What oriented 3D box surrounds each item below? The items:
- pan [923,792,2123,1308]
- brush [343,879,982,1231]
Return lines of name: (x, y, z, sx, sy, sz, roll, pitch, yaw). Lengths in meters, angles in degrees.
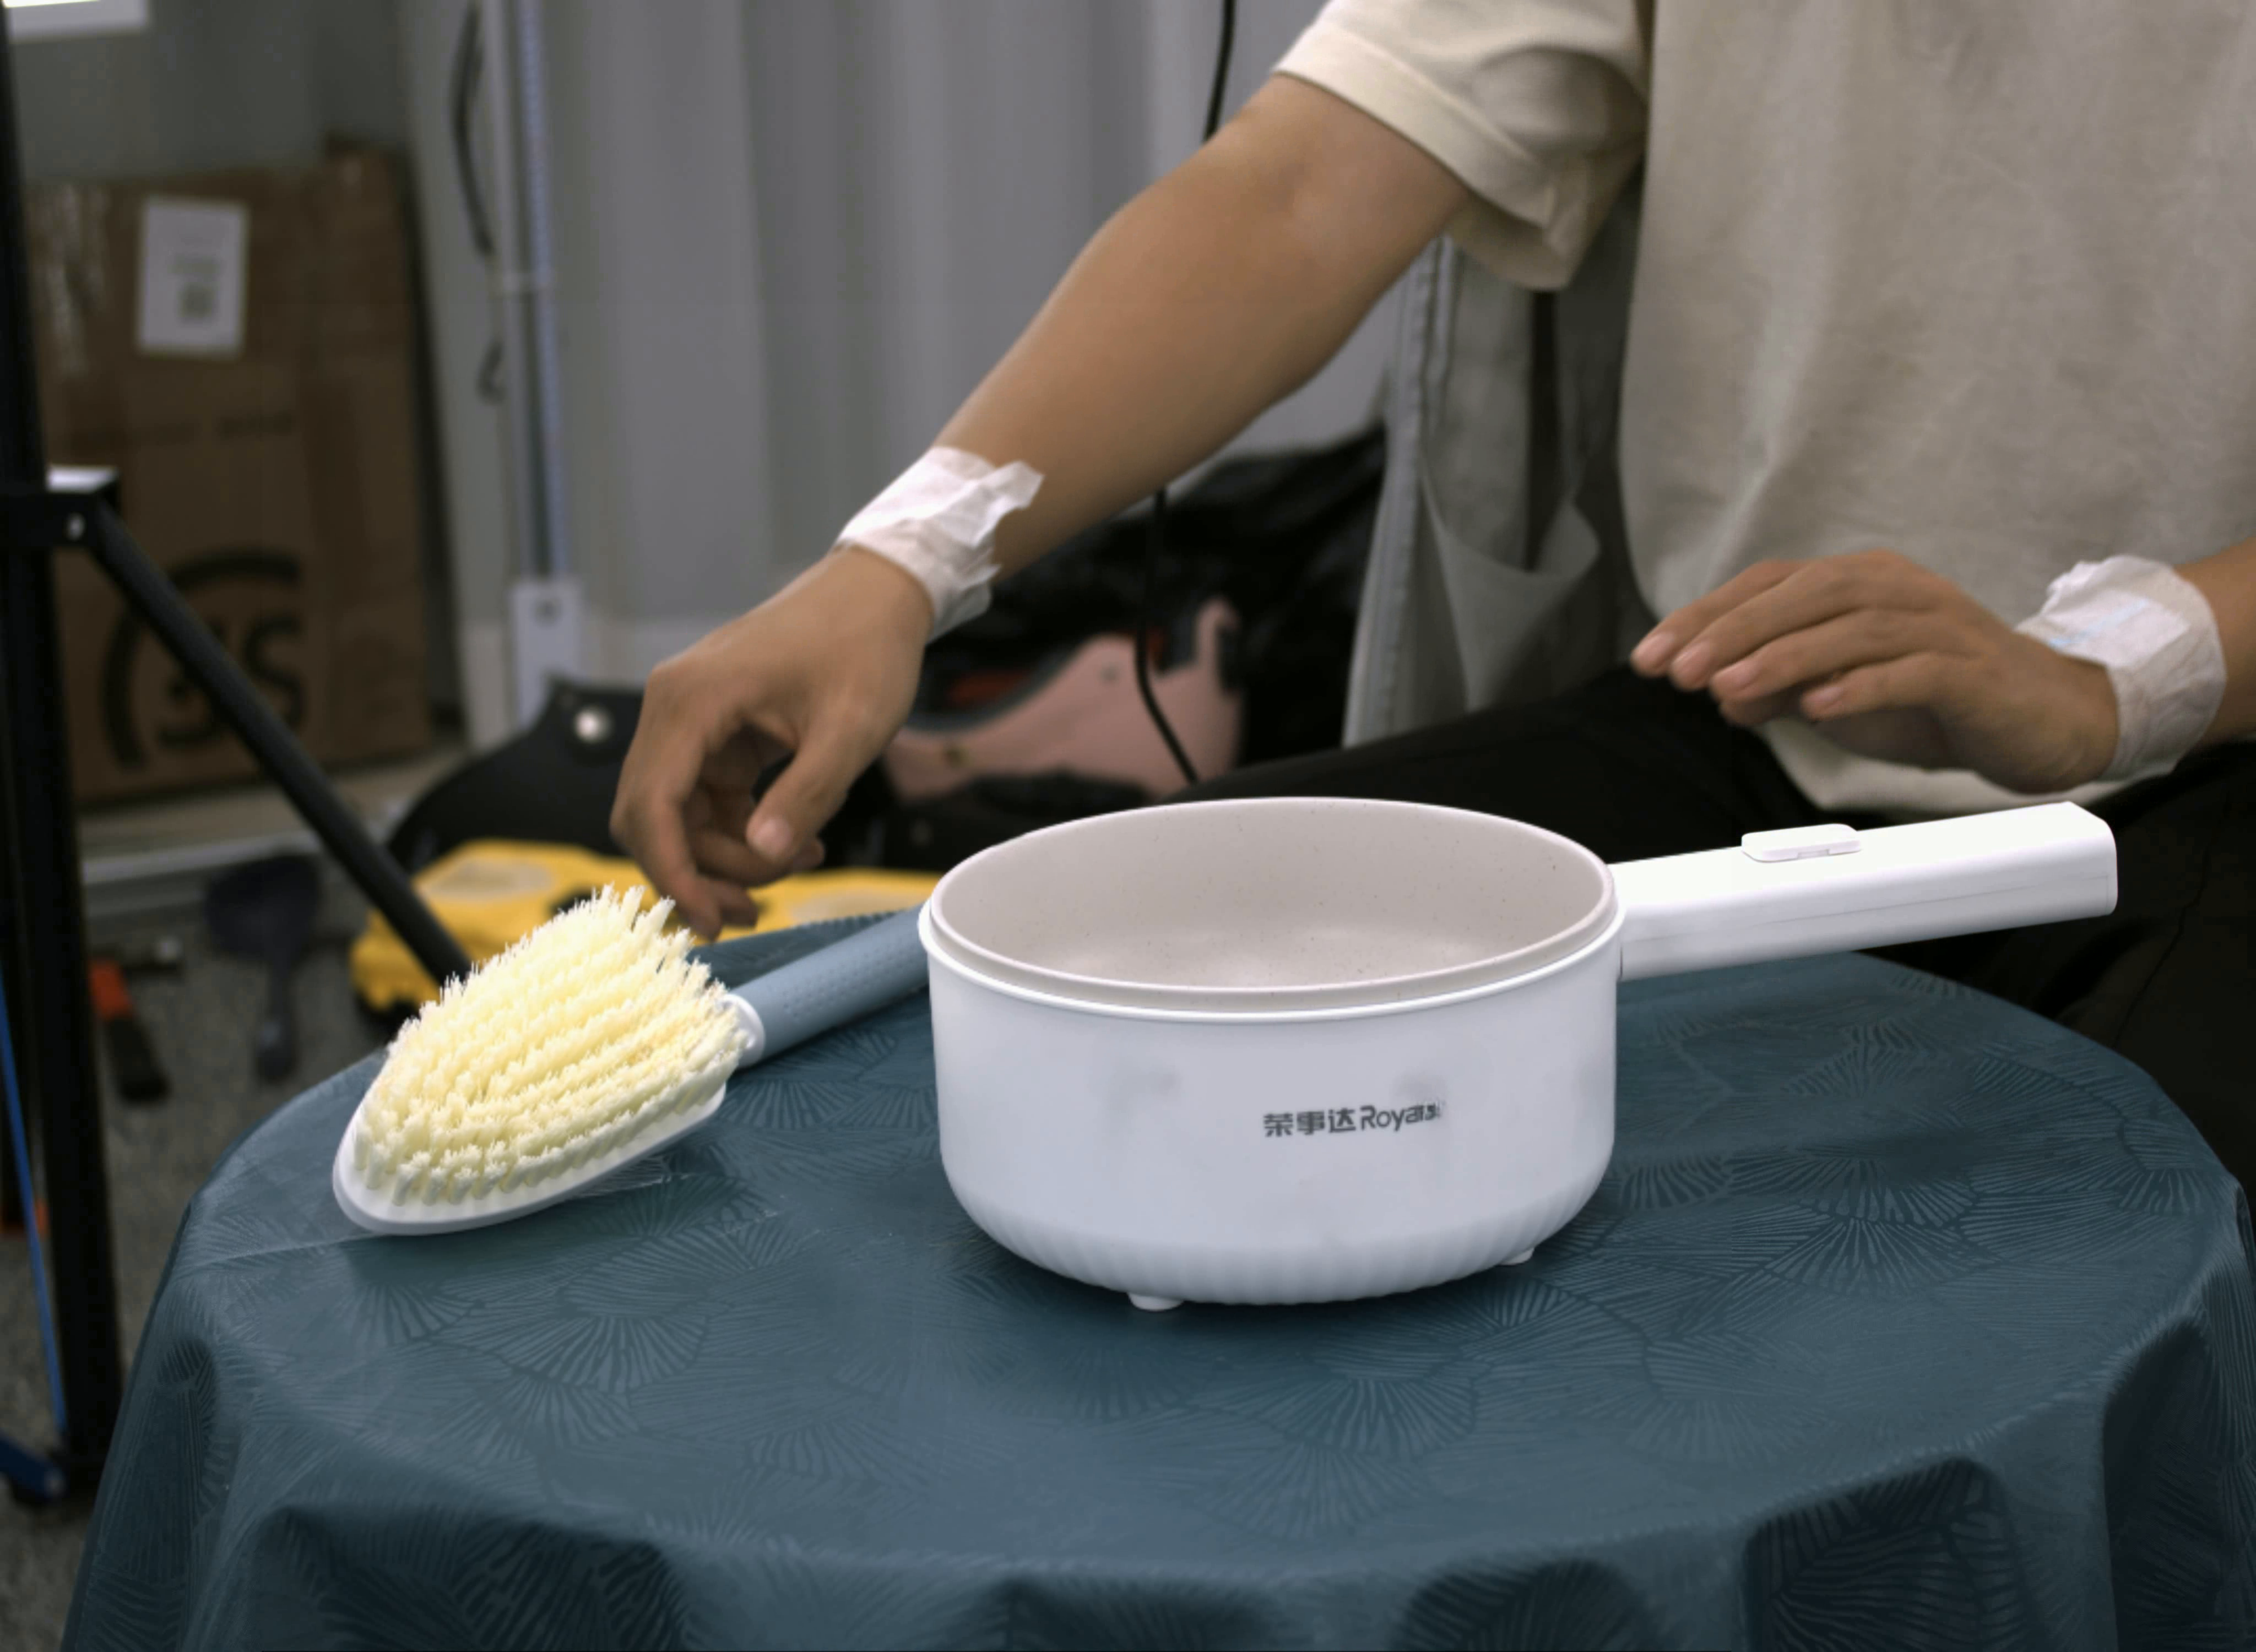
pan: (0.117, 0.058, 1.529, 0.350, 0.102, 0.204, -6, 16, -13)
brush: (-0.117, 0.045, 1.647, 0.086, 0.083, 0.319, 1, 15, 38)
